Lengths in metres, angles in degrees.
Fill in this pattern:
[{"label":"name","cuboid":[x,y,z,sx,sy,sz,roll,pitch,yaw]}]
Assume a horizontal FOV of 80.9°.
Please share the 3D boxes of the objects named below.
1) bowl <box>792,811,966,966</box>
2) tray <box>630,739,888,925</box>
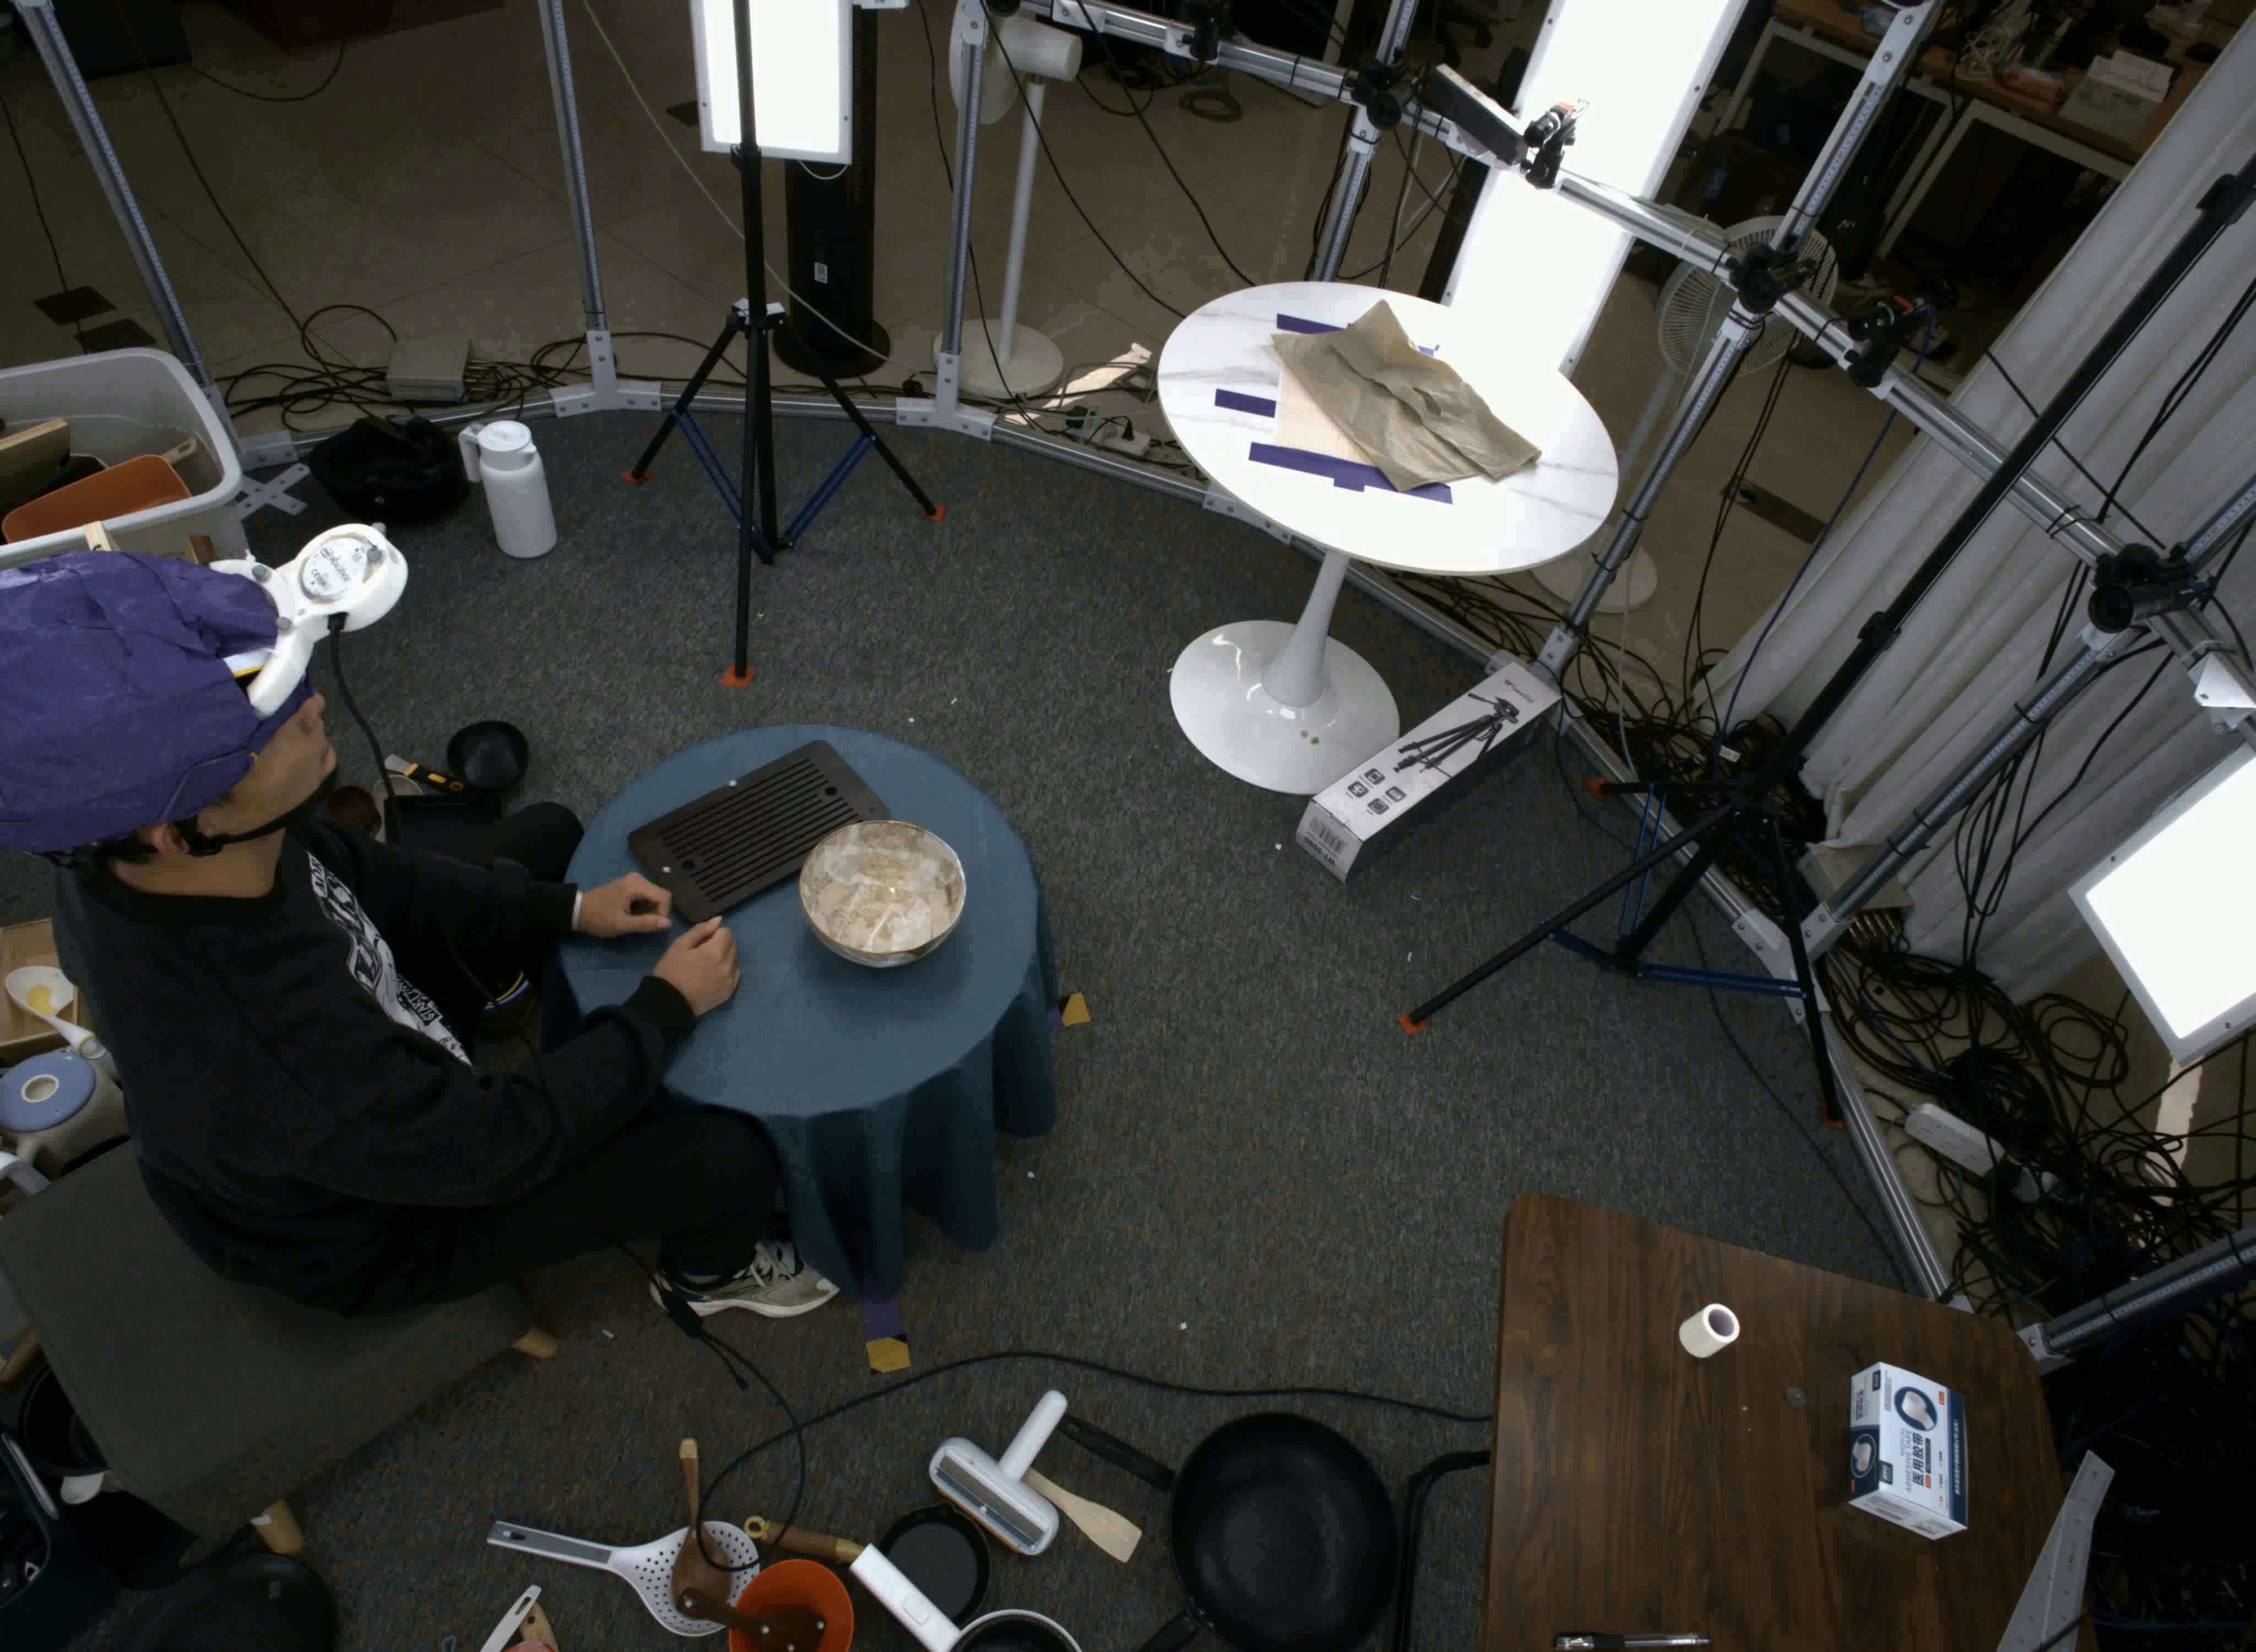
[{"label":"bowl","cuboid":[-0.311,0.094,1.628,0.214,0.096,0.211,8,53,-9]},{"label":"tray","cuboid":[-0.483,0.002,1.701,0.307,0.019,0.166,-32,67,-31]}]
